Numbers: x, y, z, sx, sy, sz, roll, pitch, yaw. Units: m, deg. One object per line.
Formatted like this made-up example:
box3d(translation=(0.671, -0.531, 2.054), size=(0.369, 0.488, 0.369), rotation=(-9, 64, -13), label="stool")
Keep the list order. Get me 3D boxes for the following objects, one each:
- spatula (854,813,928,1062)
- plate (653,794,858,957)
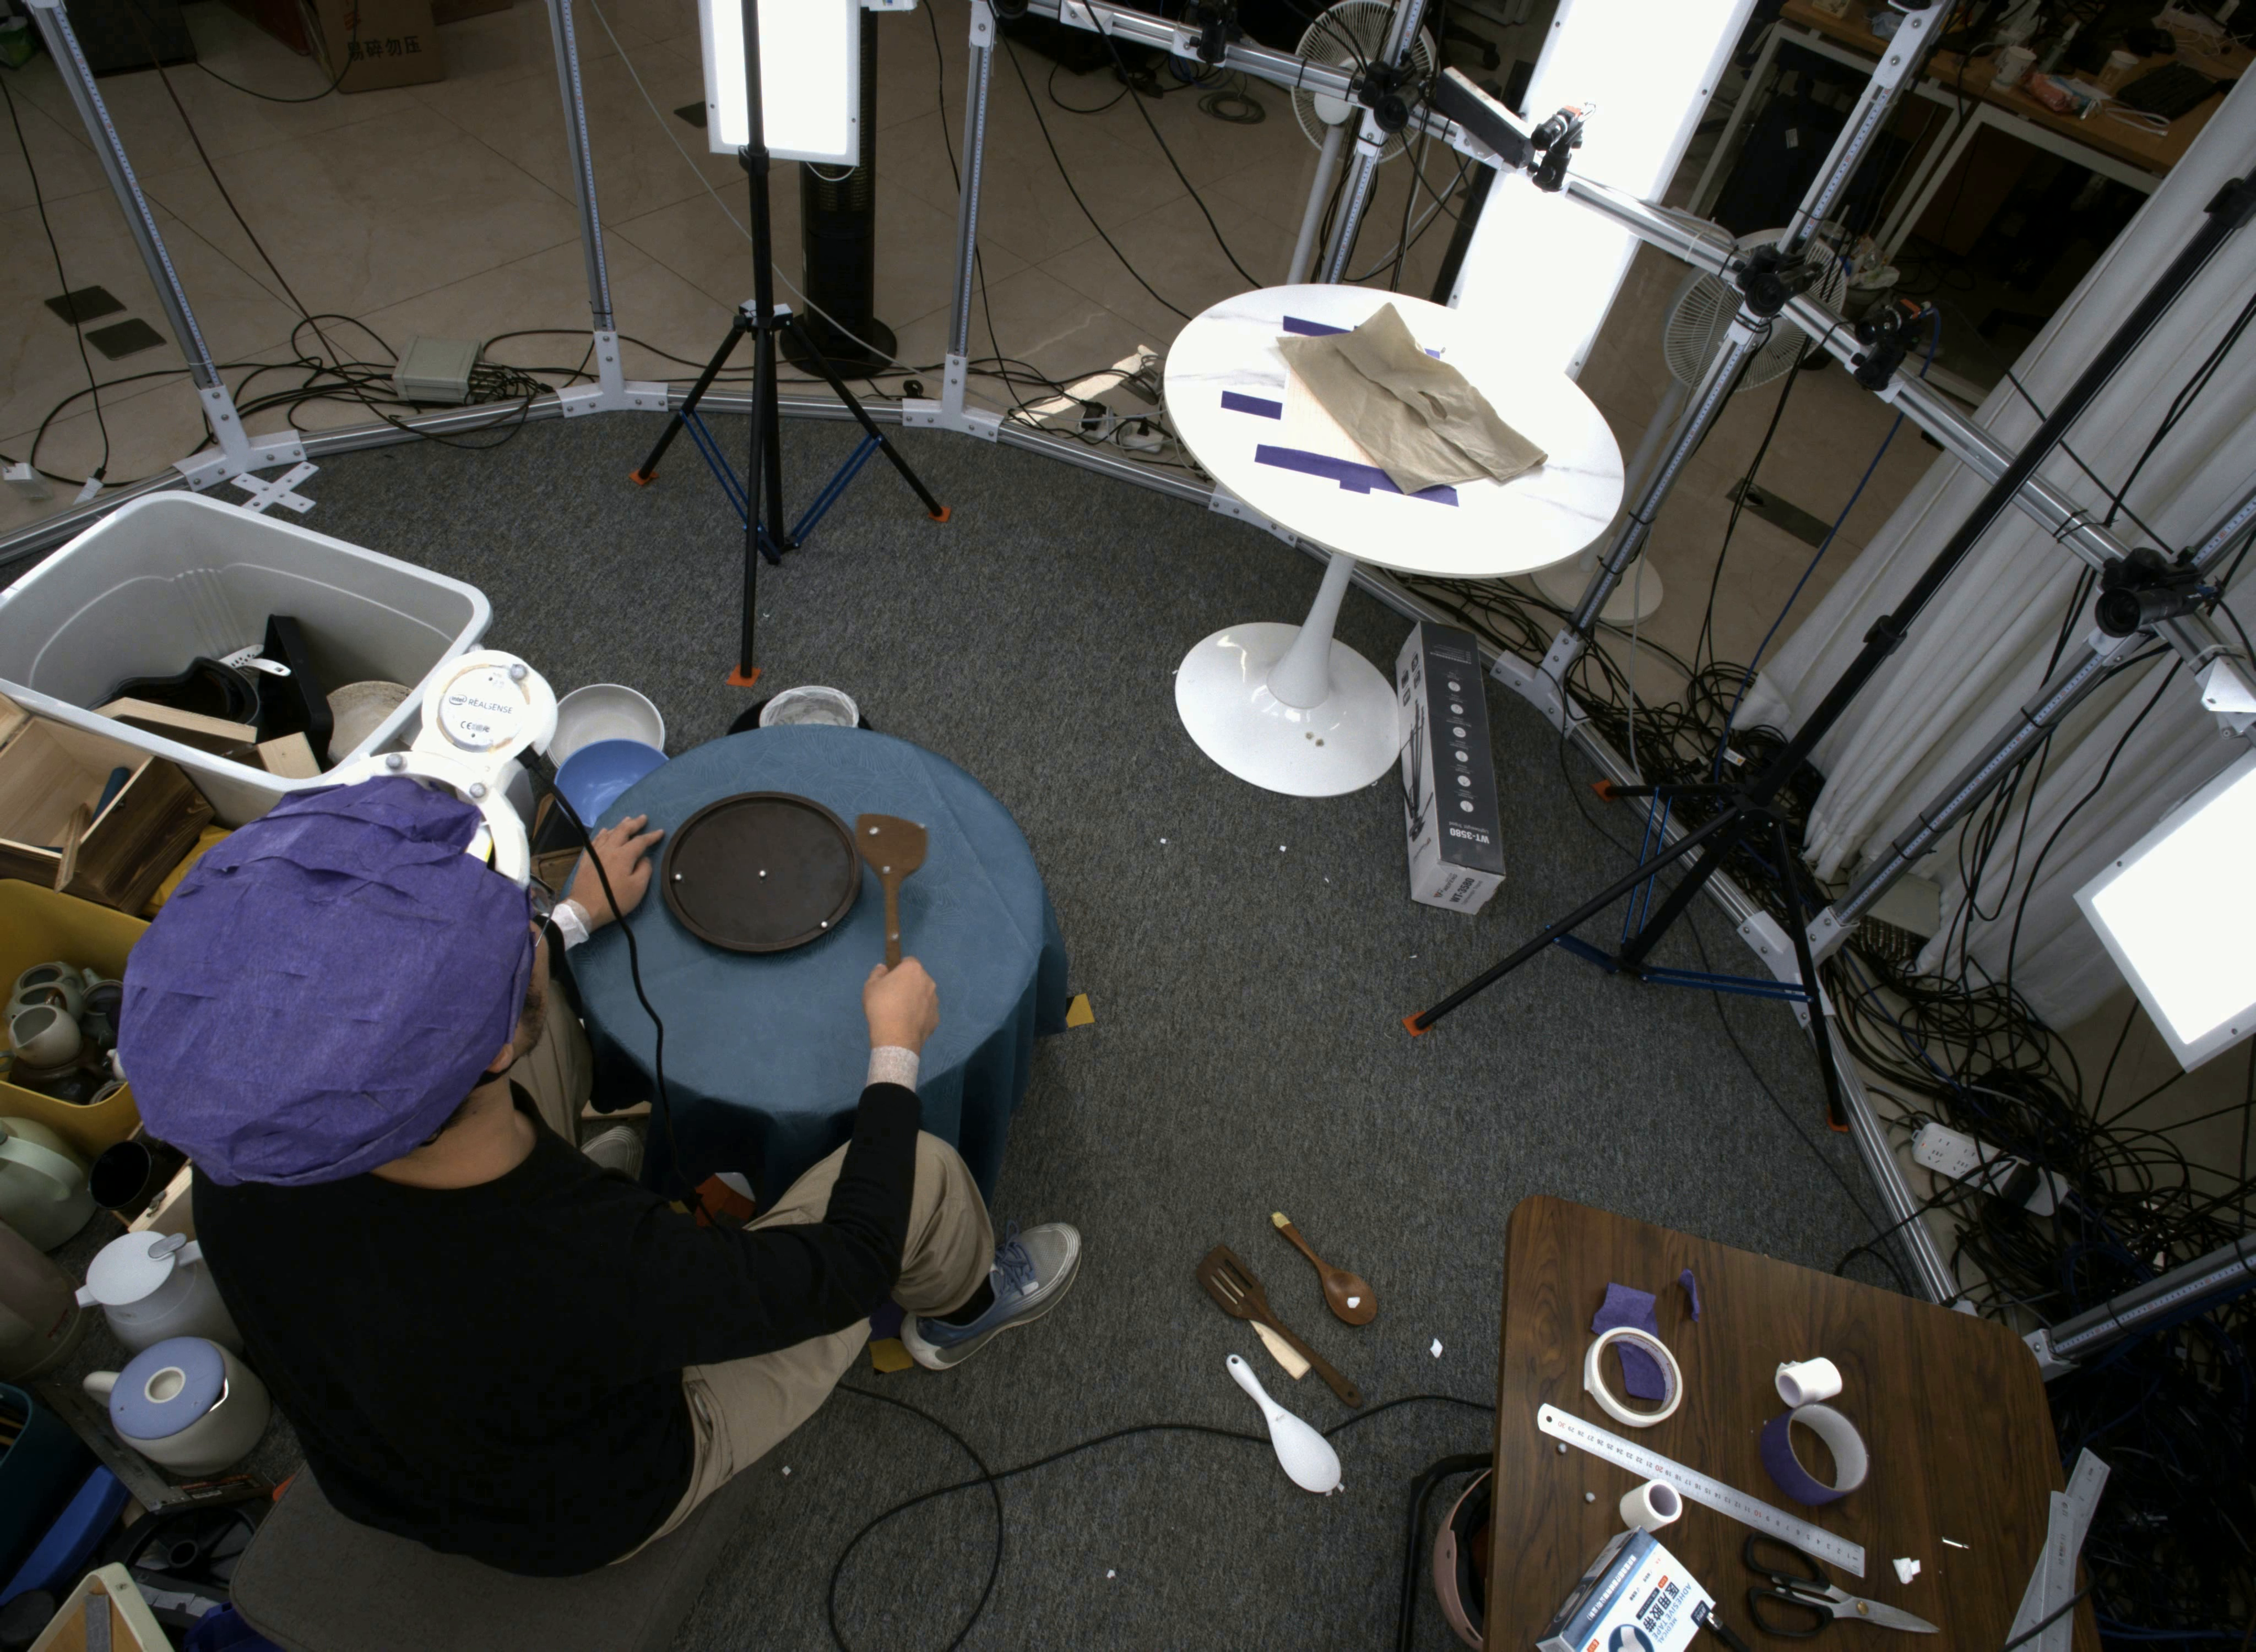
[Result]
box3d(translation=(-0.279, 0.118, 1.529), size=(0.097, 0.016, 0.376), rotation=(14, 39, -23), label="spatula")
box3d(translation=(-0.473, 0.060, 1.647), size=(0.254, 0.029, 0.250), rotation=(9, 52, -10), label="plate")
